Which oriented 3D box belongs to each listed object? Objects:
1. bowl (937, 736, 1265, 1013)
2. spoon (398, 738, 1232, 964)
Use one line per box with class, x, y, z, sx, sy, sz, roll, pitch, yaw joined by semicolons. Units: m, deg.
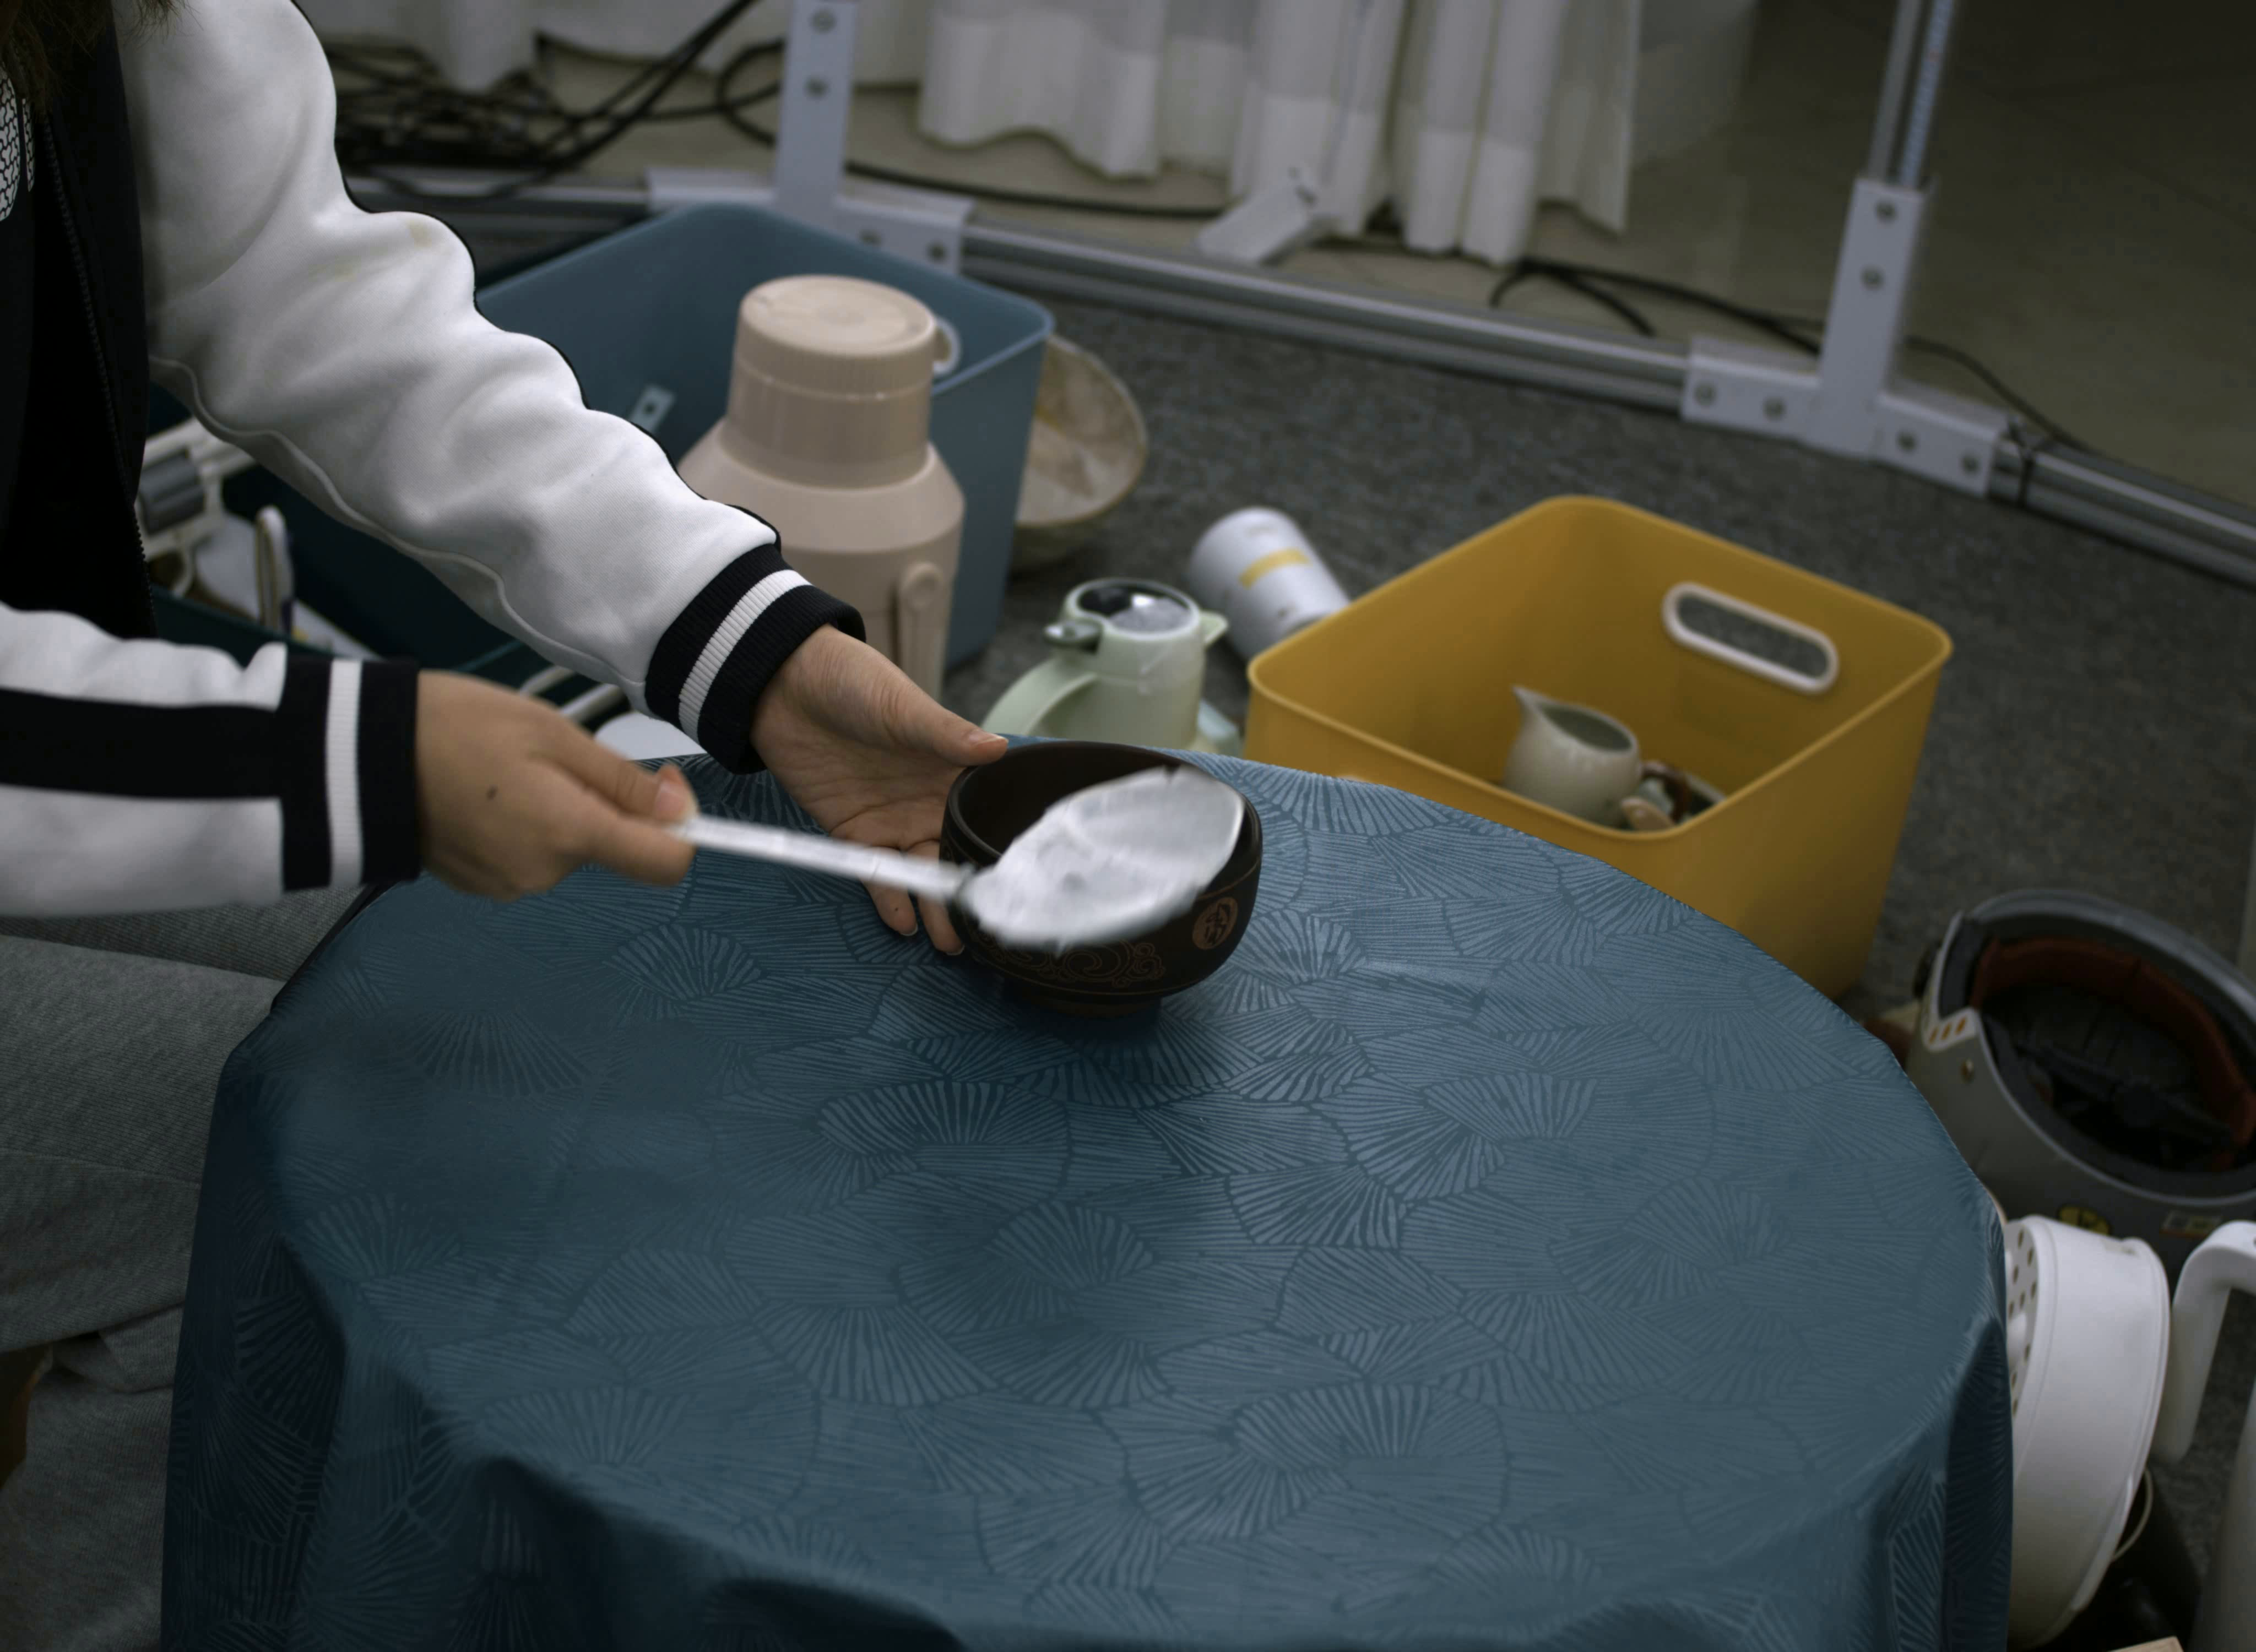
bowl;-0.012;0.024;1.915;0.117;0.069;0.119;5;26;-3
spoon;-0.104;-0.011;1.762;0.277;0.059;0.101;16;31;2
